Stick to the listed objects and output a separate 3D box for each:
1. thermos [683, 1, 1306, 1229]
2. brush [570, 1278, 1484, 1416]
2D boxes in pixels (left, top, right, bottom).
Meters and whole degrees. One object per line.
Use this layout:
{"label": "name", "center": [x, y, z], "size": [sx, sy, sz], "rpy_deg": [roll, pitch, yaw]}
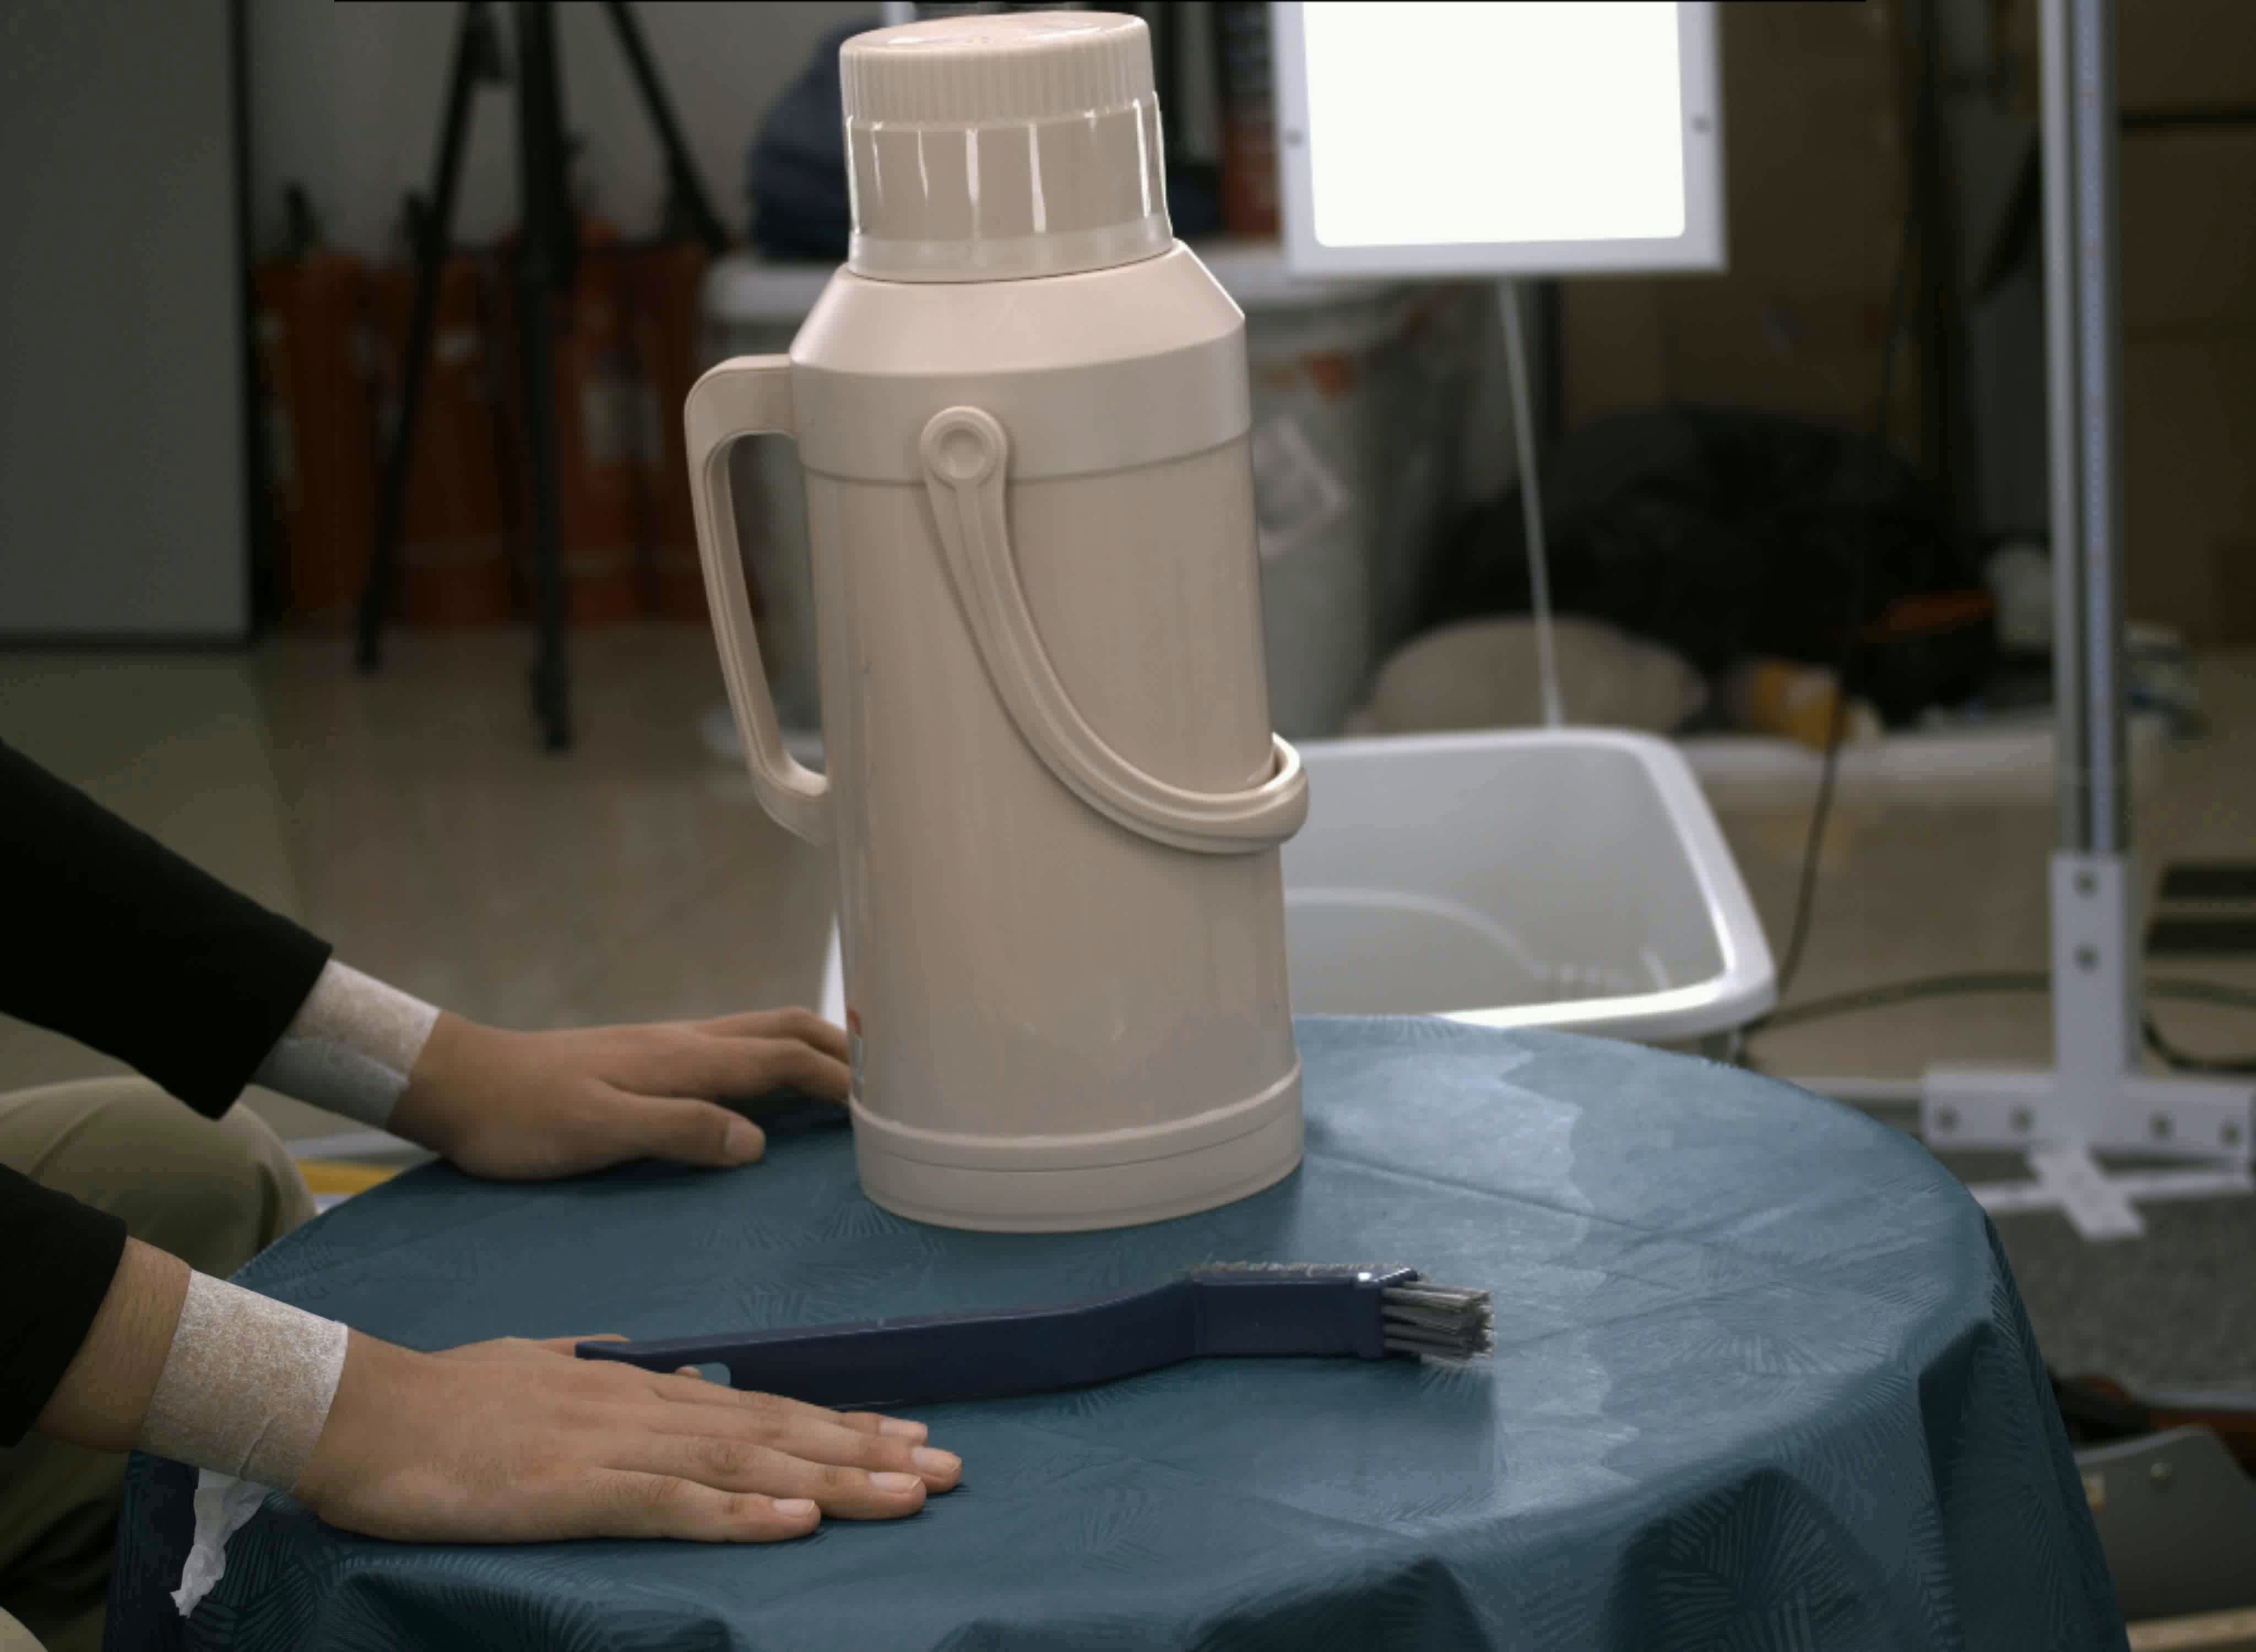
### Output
{"label": "thermos", "center": [-0.045, -0.074, 1.895], "size": [0.209, 0.408, 0.173], "rpy_deg": [-1, 16, 13]}
{"label": "brush", "center": [-0.033, 0.161, 1.699], "size": [0.270, 0.033, 0.096], "rpy_deg": [-5, 12, -10]}
